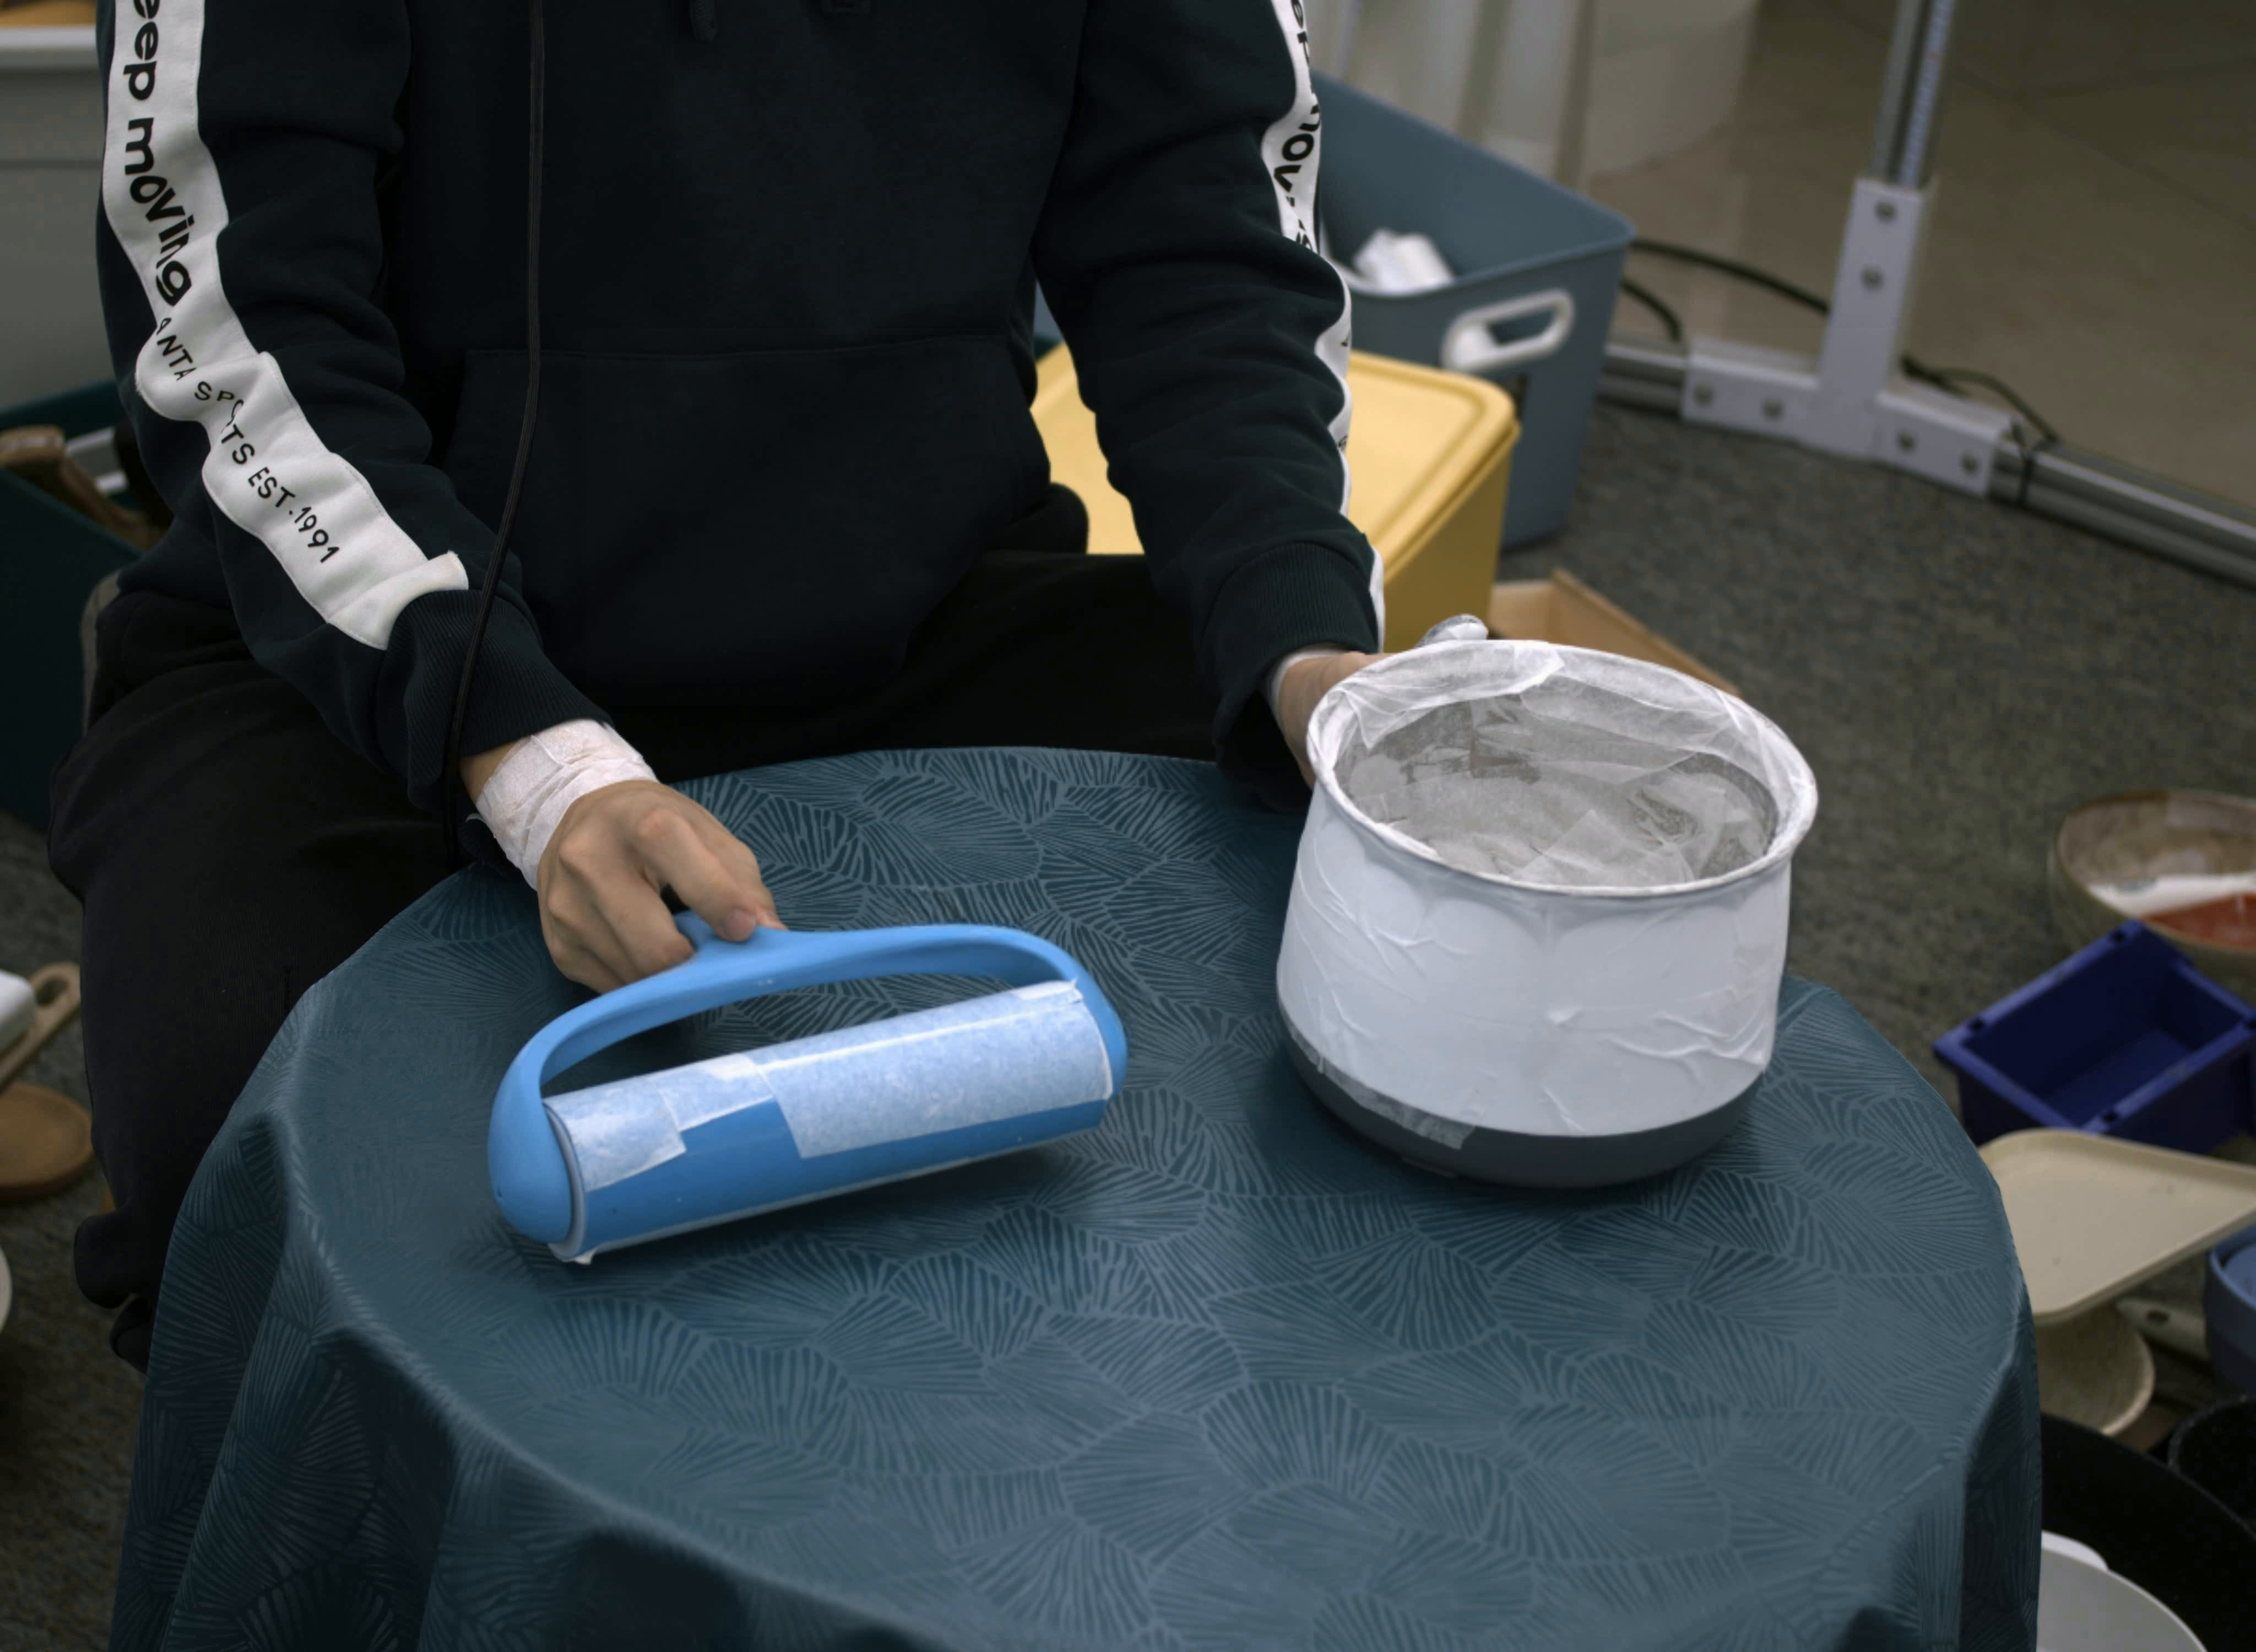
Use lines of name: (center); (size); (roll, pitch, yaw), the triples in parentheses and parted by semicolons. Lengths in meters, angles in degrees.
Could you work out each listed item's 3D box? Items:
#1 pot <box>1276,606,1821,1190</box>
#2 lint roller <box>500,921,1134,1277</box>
pot: (0.135, 0.018, 1.873); (0.177, 0.136, 0.236); (-4, 32, -17)
lint roller: (-0.131, 0.069, 1.797); (0.228, 0.067, 0.182); (-17, 38, -28)
